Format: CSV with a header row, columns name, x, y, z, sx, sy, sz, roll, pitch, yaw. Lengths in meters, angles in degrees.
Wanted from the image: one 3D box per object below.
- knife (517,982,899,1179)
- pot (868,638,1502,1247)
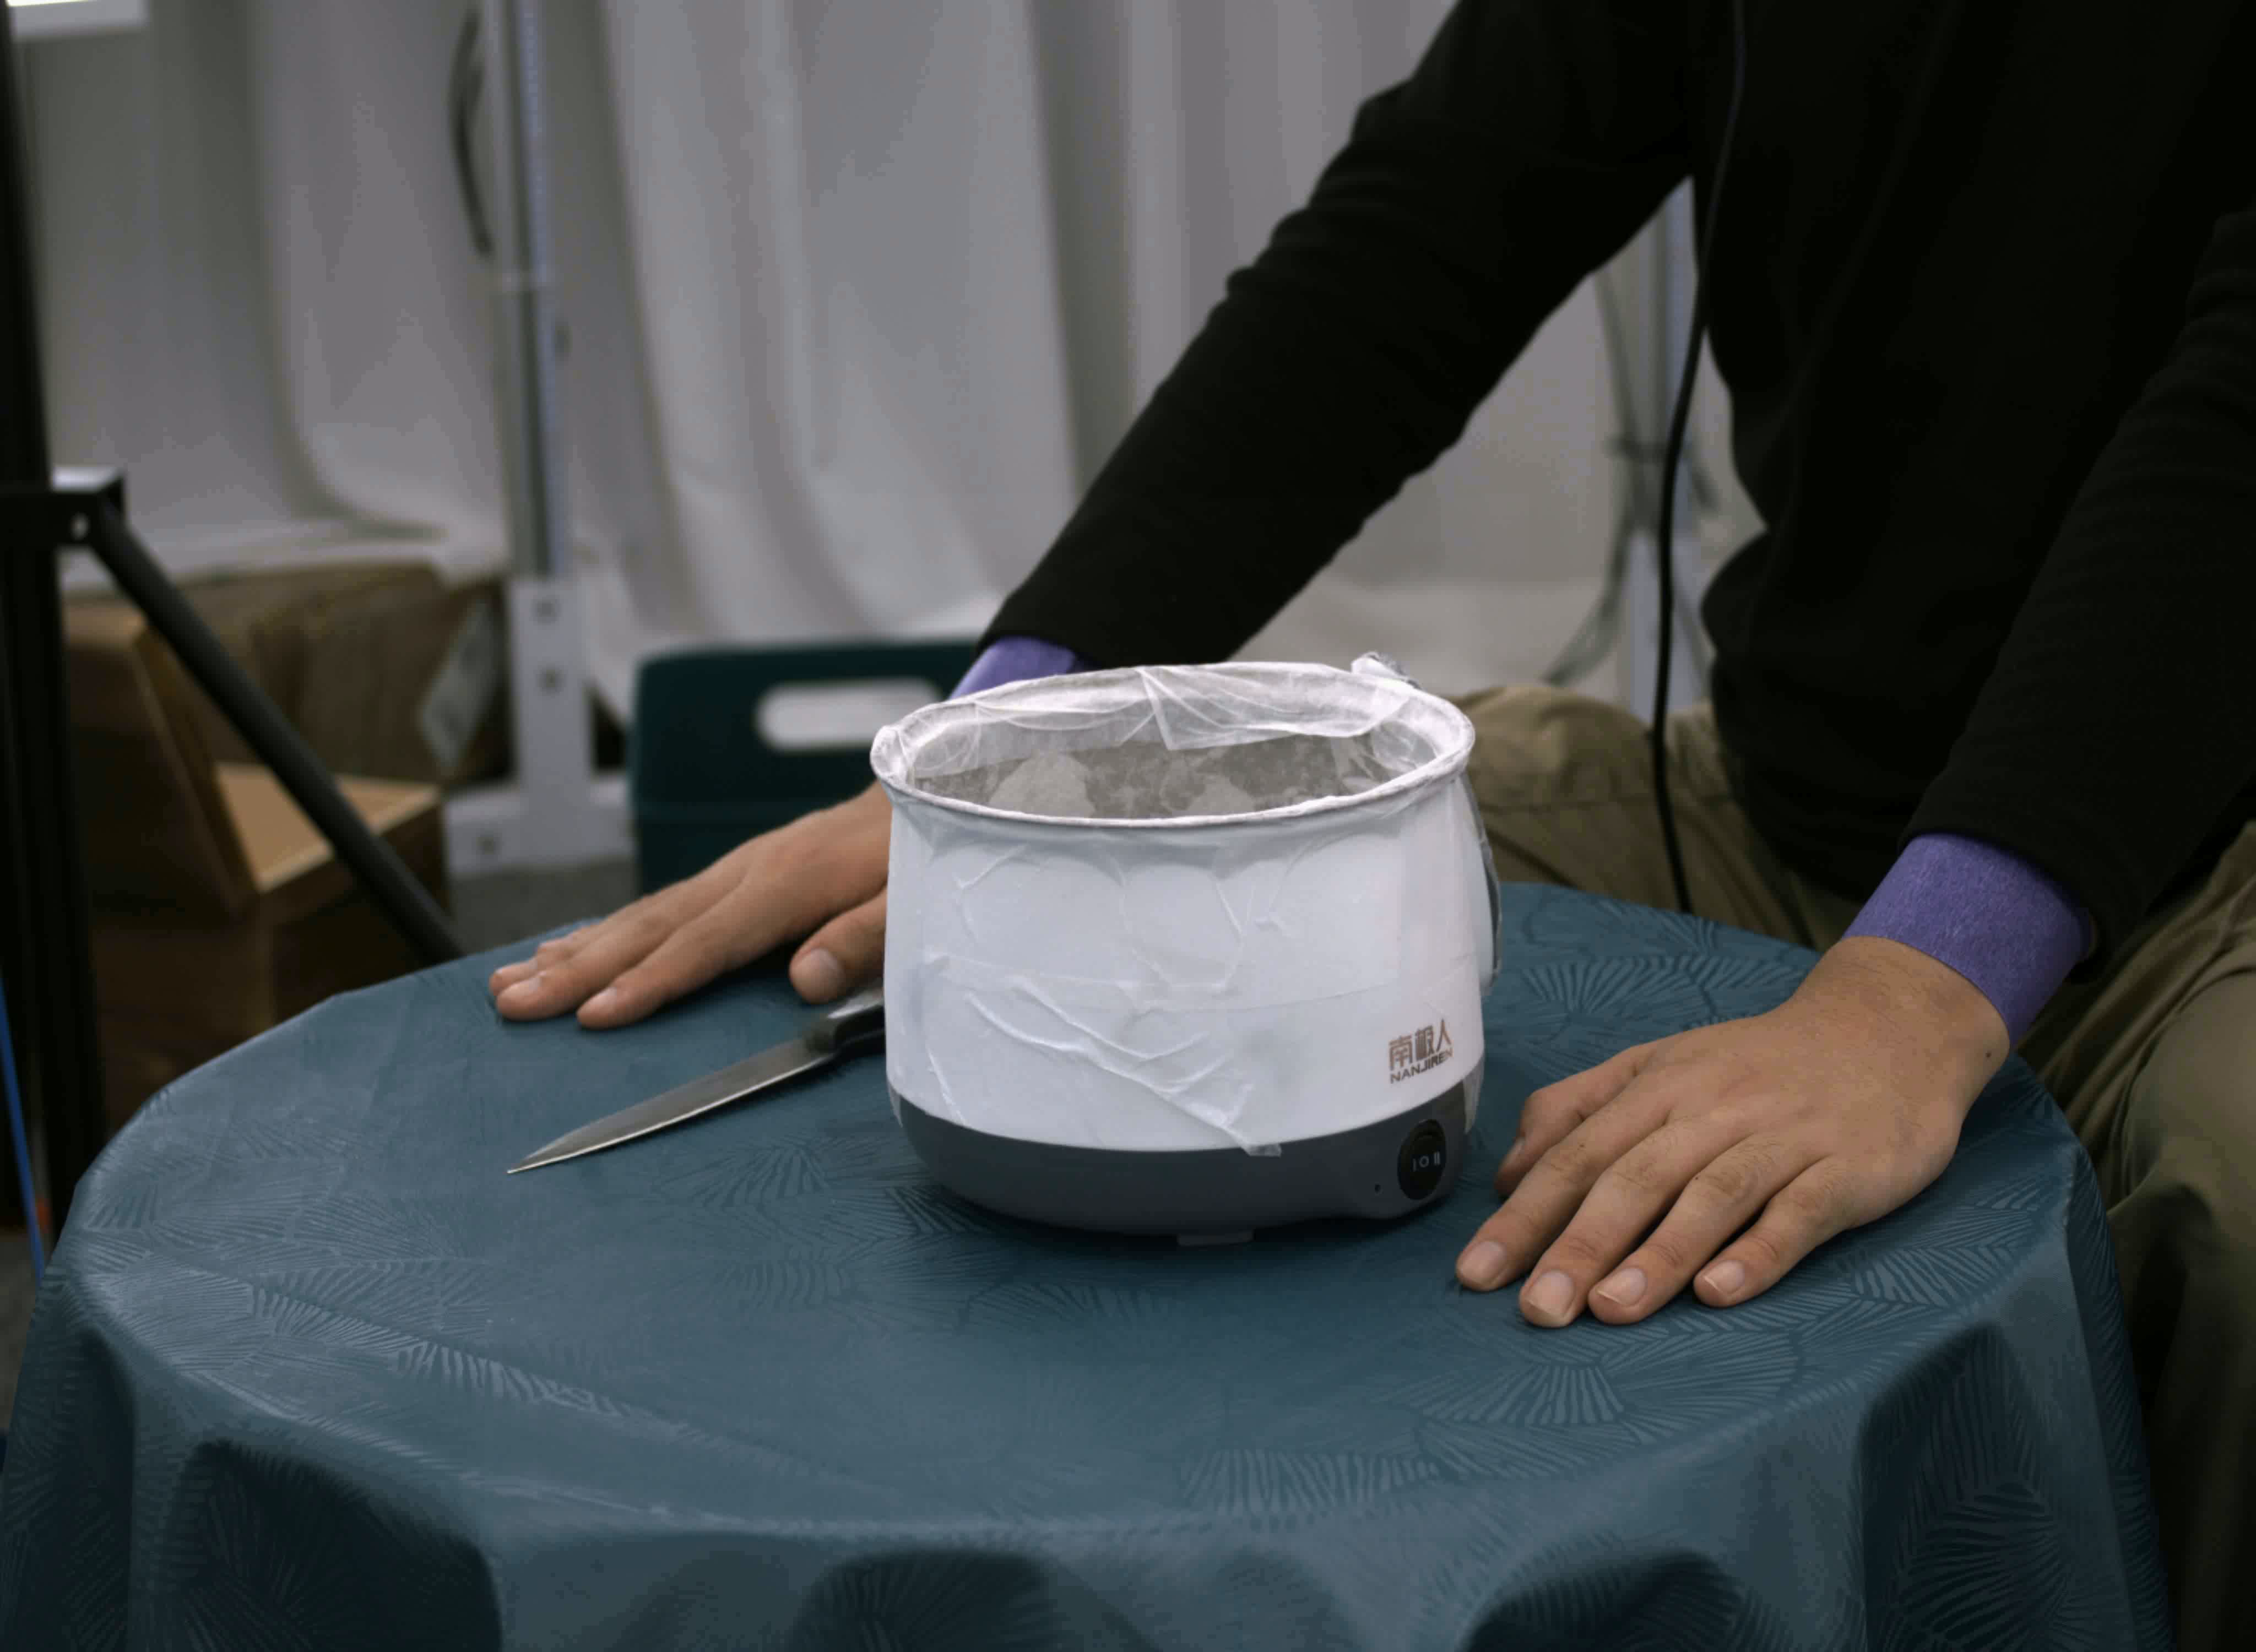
name,x,y,z,sx,sy,sz,roll,pitch,yaw
knife,-0.105,0.073,1.676,0.025,0.016,0.233,12,24,42
pot,0.032,0.027,1.576,0.182,0.136,0.229,11,22,37
